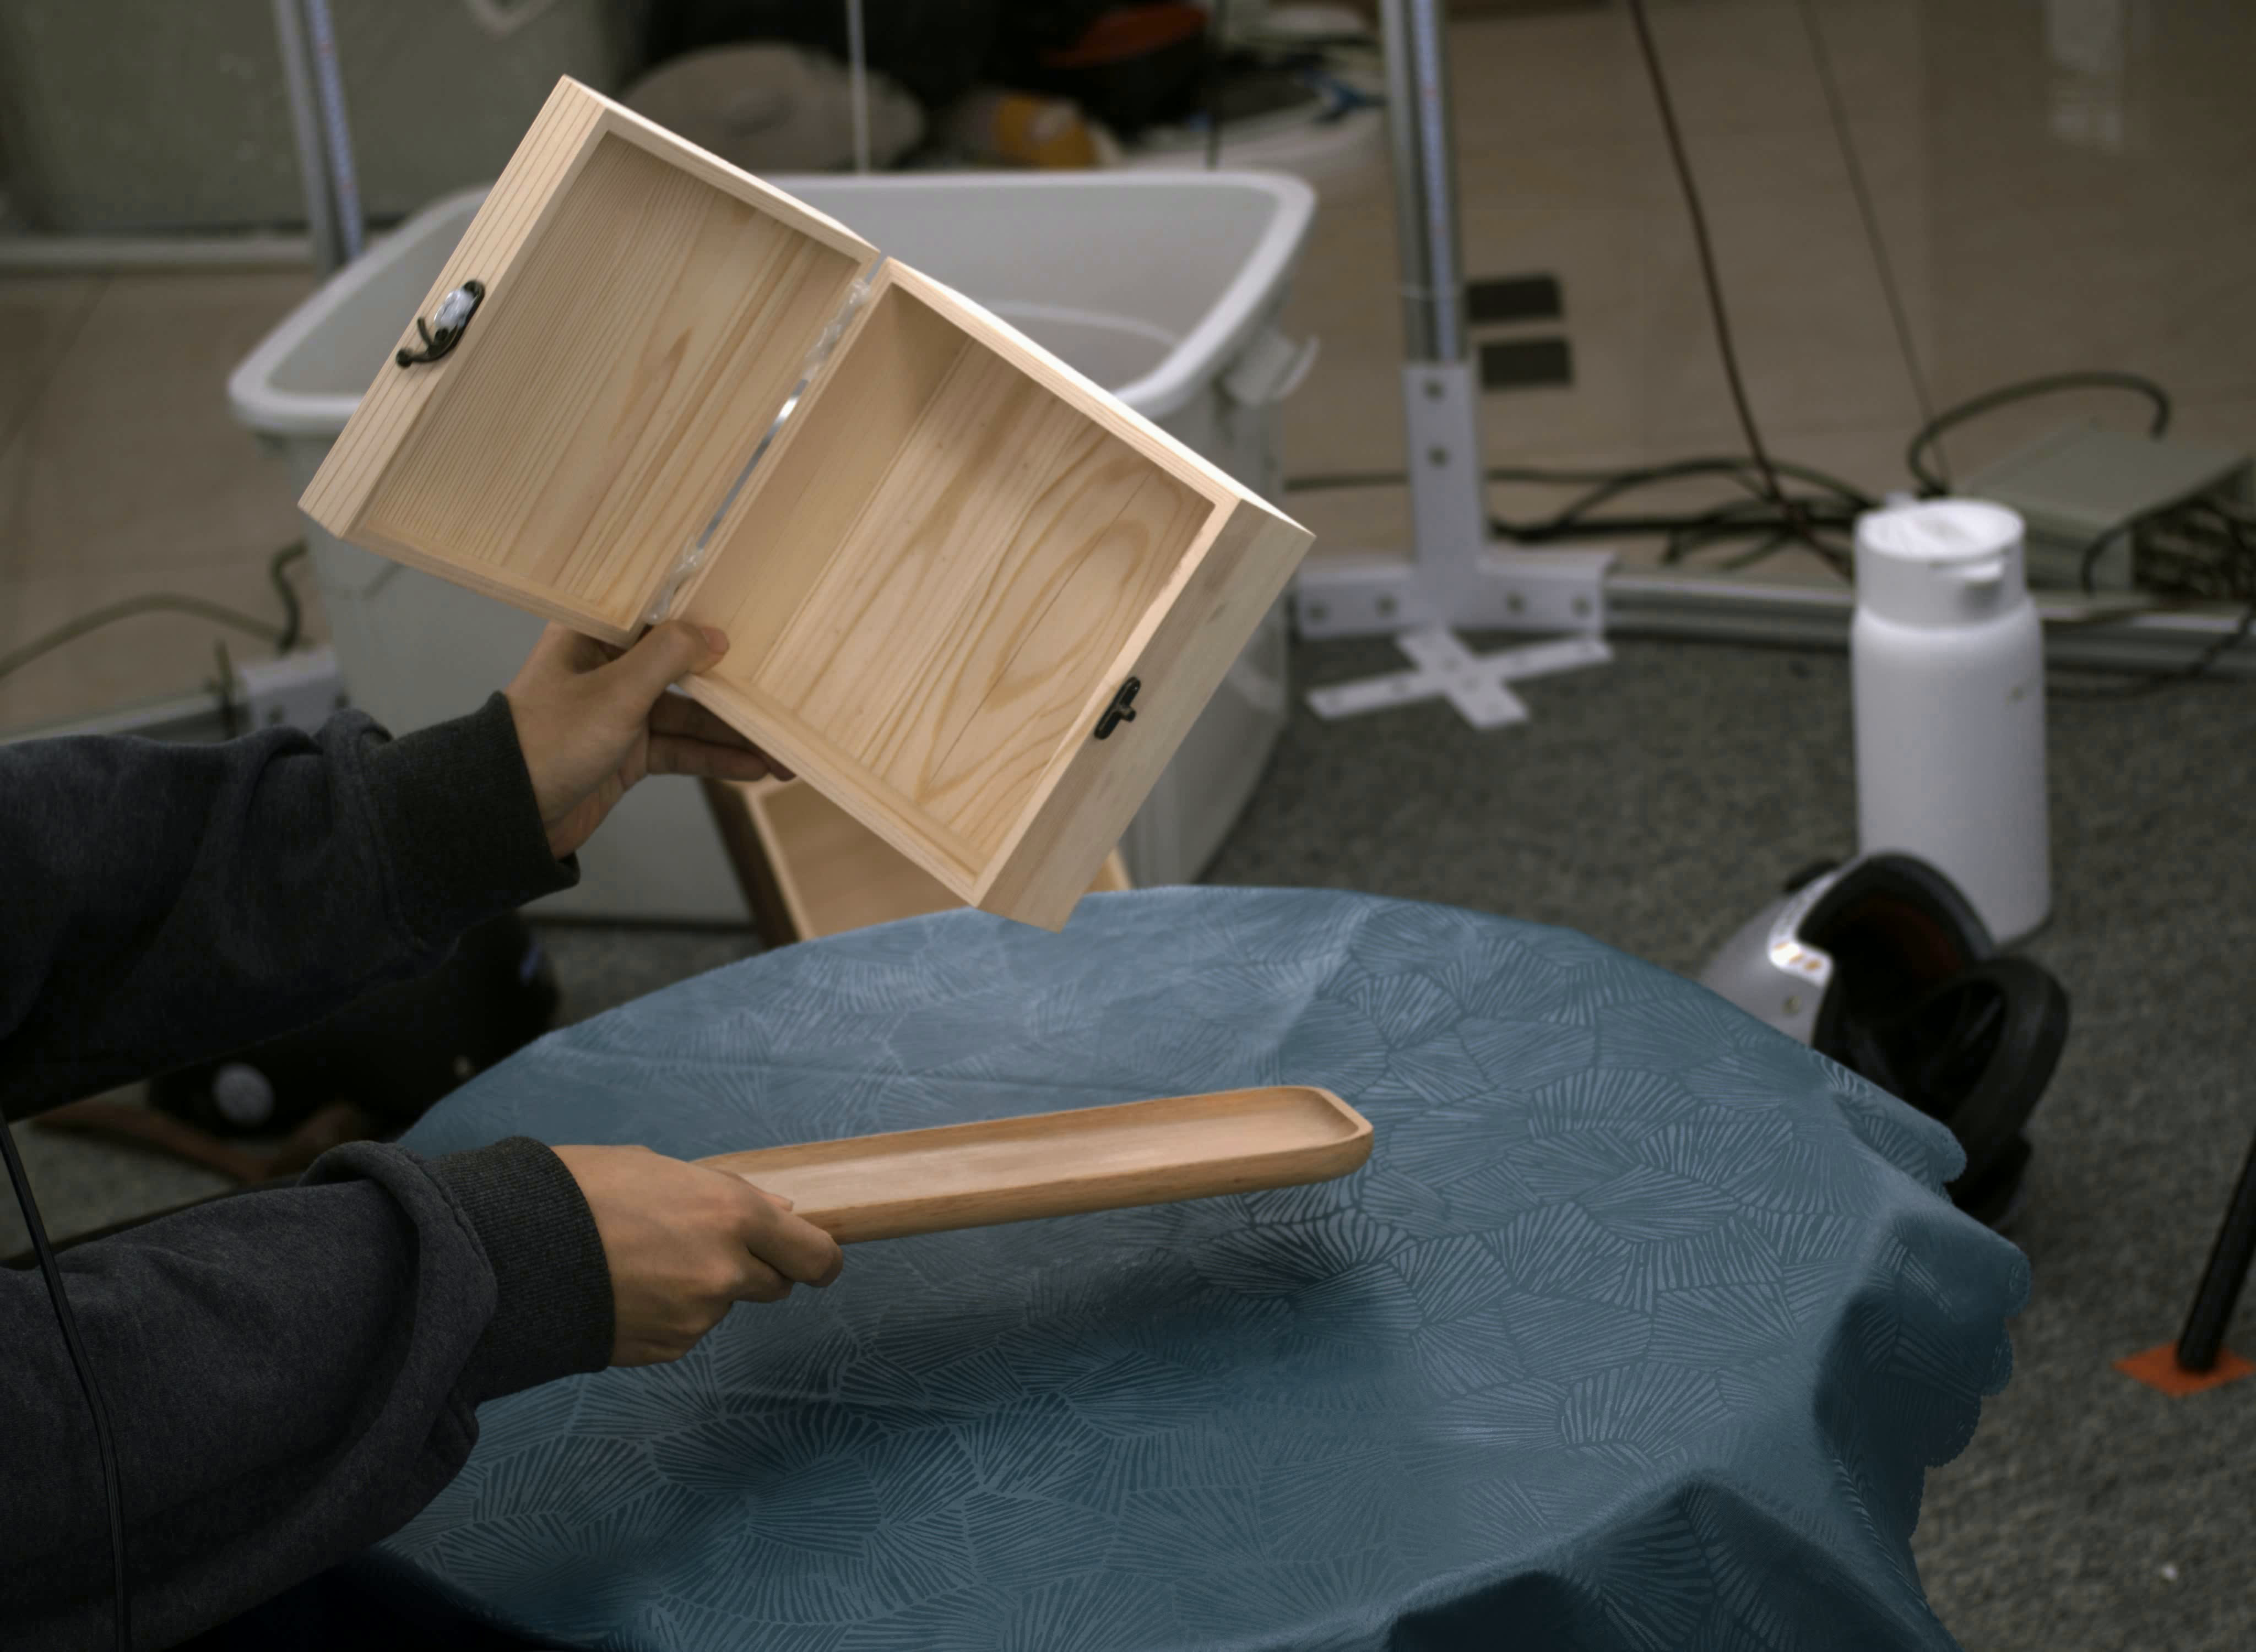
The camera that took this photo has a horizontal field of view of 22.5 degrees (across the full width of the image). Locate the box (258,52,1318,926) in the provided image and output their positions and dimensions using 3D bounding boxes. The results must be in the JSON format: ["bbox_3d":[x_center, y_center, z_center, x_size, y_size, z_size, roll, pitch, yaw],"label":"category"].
[{"bbox_3d":[-0.119,-0.118,2.070,0.262,0.183,0.254,36,9,25],"label":"box"}]

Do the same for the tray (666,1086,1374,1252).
[{"bbox_3d":[-0.040,0.124,2.061,0.250,0.023,0.130,-7,6,-9],"label":"tray"}]
